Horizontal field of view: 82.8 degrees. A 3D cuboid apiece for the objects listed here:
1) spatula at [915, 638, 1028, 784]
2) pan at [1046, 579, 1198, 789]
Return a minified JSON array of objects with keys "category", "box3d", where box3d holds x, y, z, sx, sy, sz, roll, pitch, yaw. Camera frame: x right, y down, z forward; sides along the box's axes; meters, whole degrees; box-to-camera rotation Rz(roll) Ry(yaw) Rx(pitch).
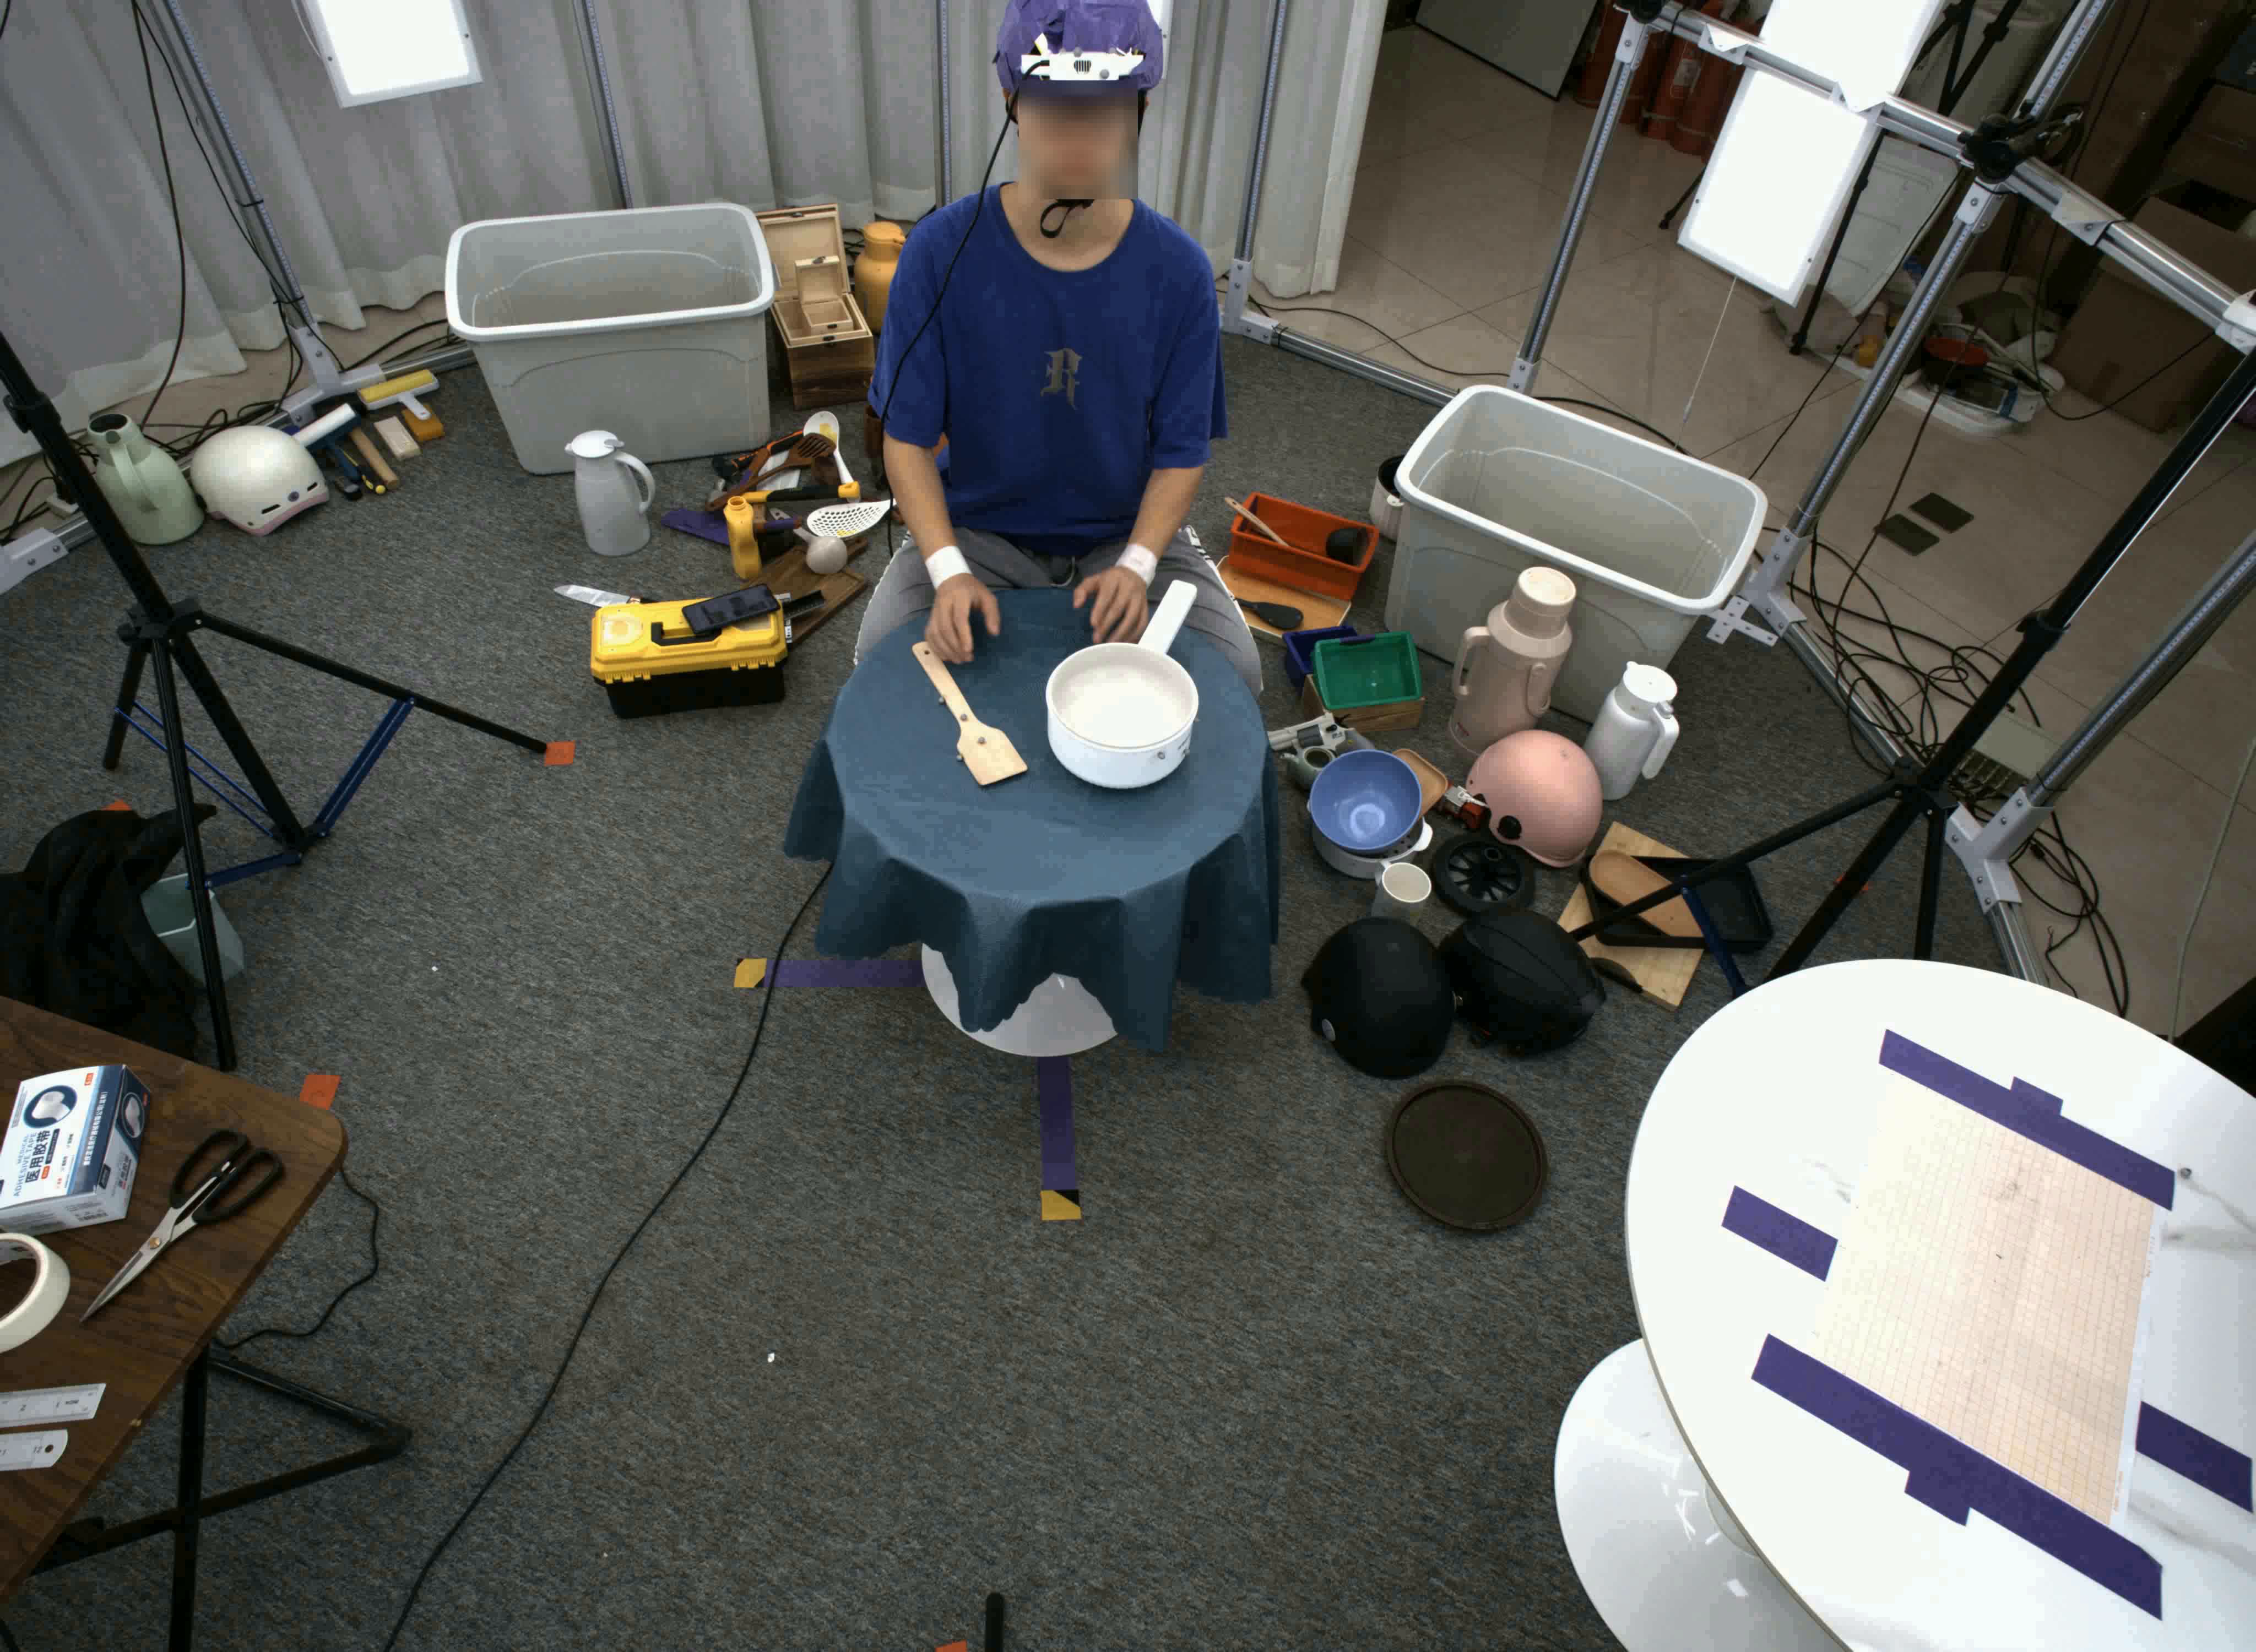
[{"category":"spatula","box3d":[-0.232,-0.168,1.797,0.072,0.010,0.299,-21,54,-19]},{"category":"pan","box3d":[0.018,-0.199,1.783,0.202,0.099,0.362,16,51,13]}]
